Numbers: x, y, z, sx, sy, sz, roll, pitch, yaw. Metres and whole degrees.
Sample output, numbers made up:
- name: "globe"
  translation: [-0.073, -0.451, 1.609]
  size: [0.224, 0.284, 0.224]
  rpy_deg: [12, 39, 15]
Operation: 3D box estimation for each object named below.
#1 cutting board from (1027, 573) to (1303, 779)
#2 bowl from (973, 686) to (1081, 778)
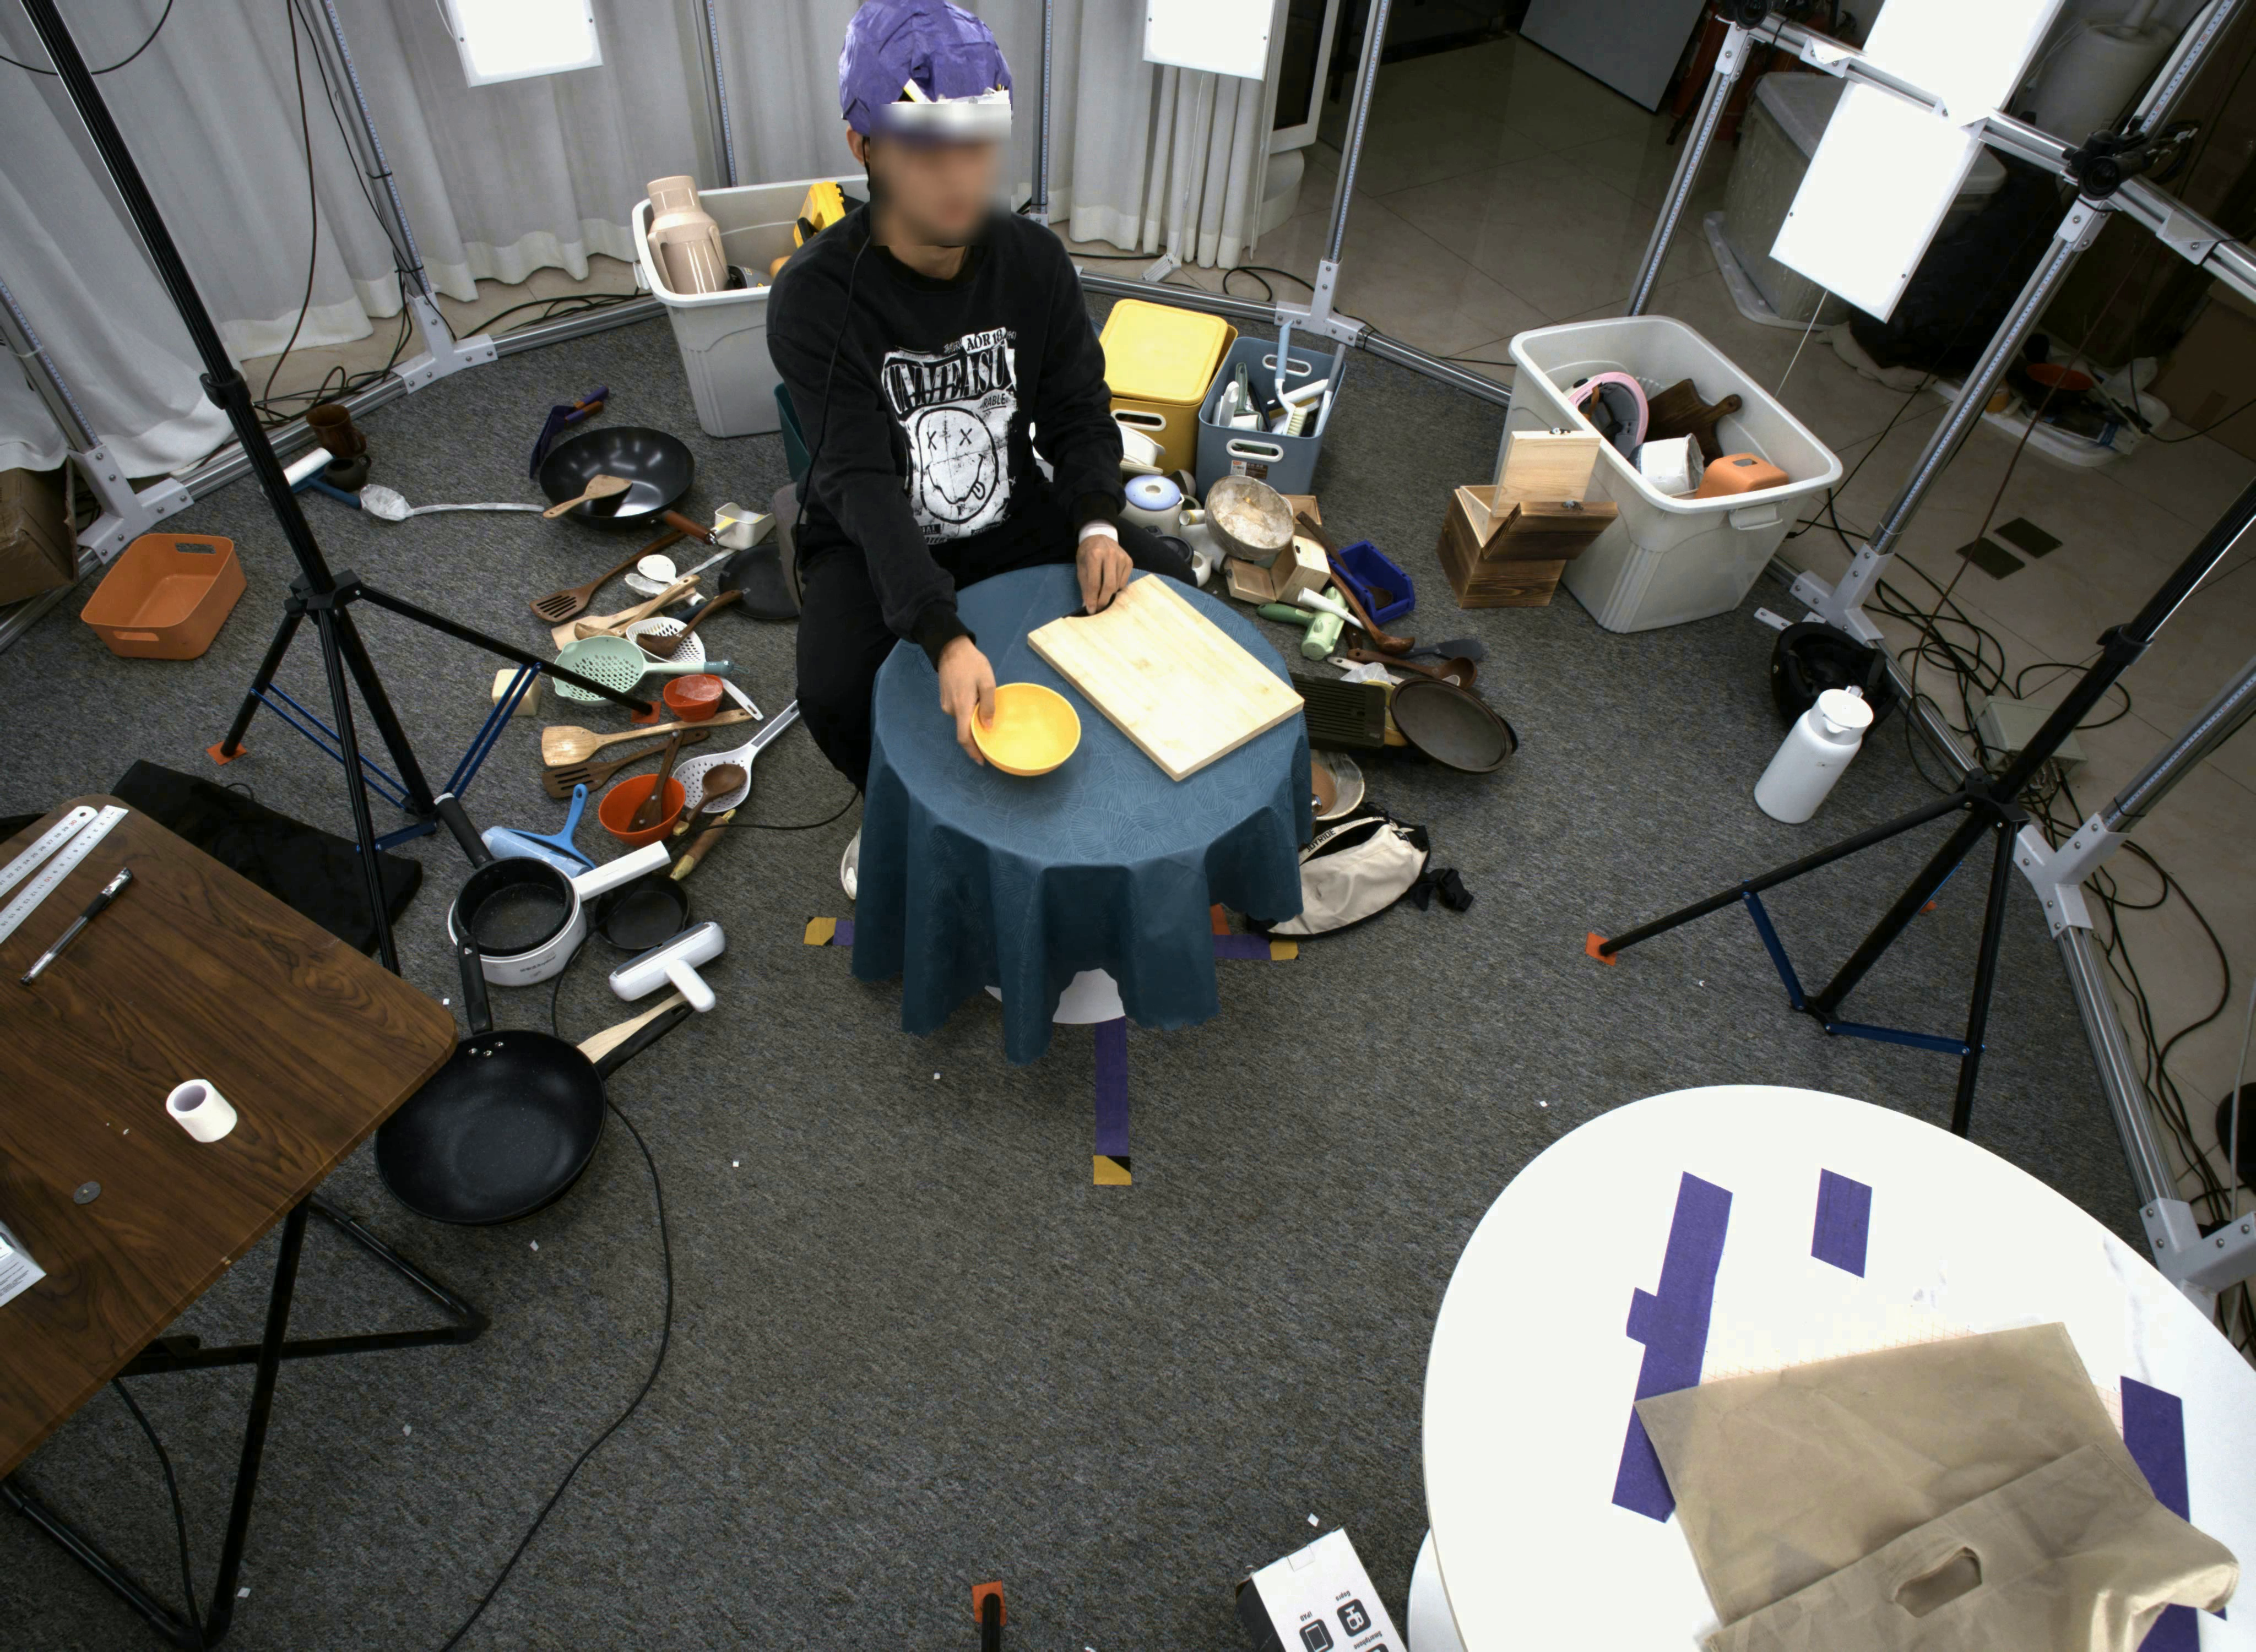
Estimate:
- name: "cutting board"
  translation: [0.050, -0.227, 1.875]
  size: [0.252, 0.023, 0.355]
  rpy_deg: [-31, 57, -27]
- name: "bowl"
  translation: [-0.140, -0.115, 1.722]
  size: [0.145, 0.059, 0.149]
  rpy_deg: [7, 52, -9]
